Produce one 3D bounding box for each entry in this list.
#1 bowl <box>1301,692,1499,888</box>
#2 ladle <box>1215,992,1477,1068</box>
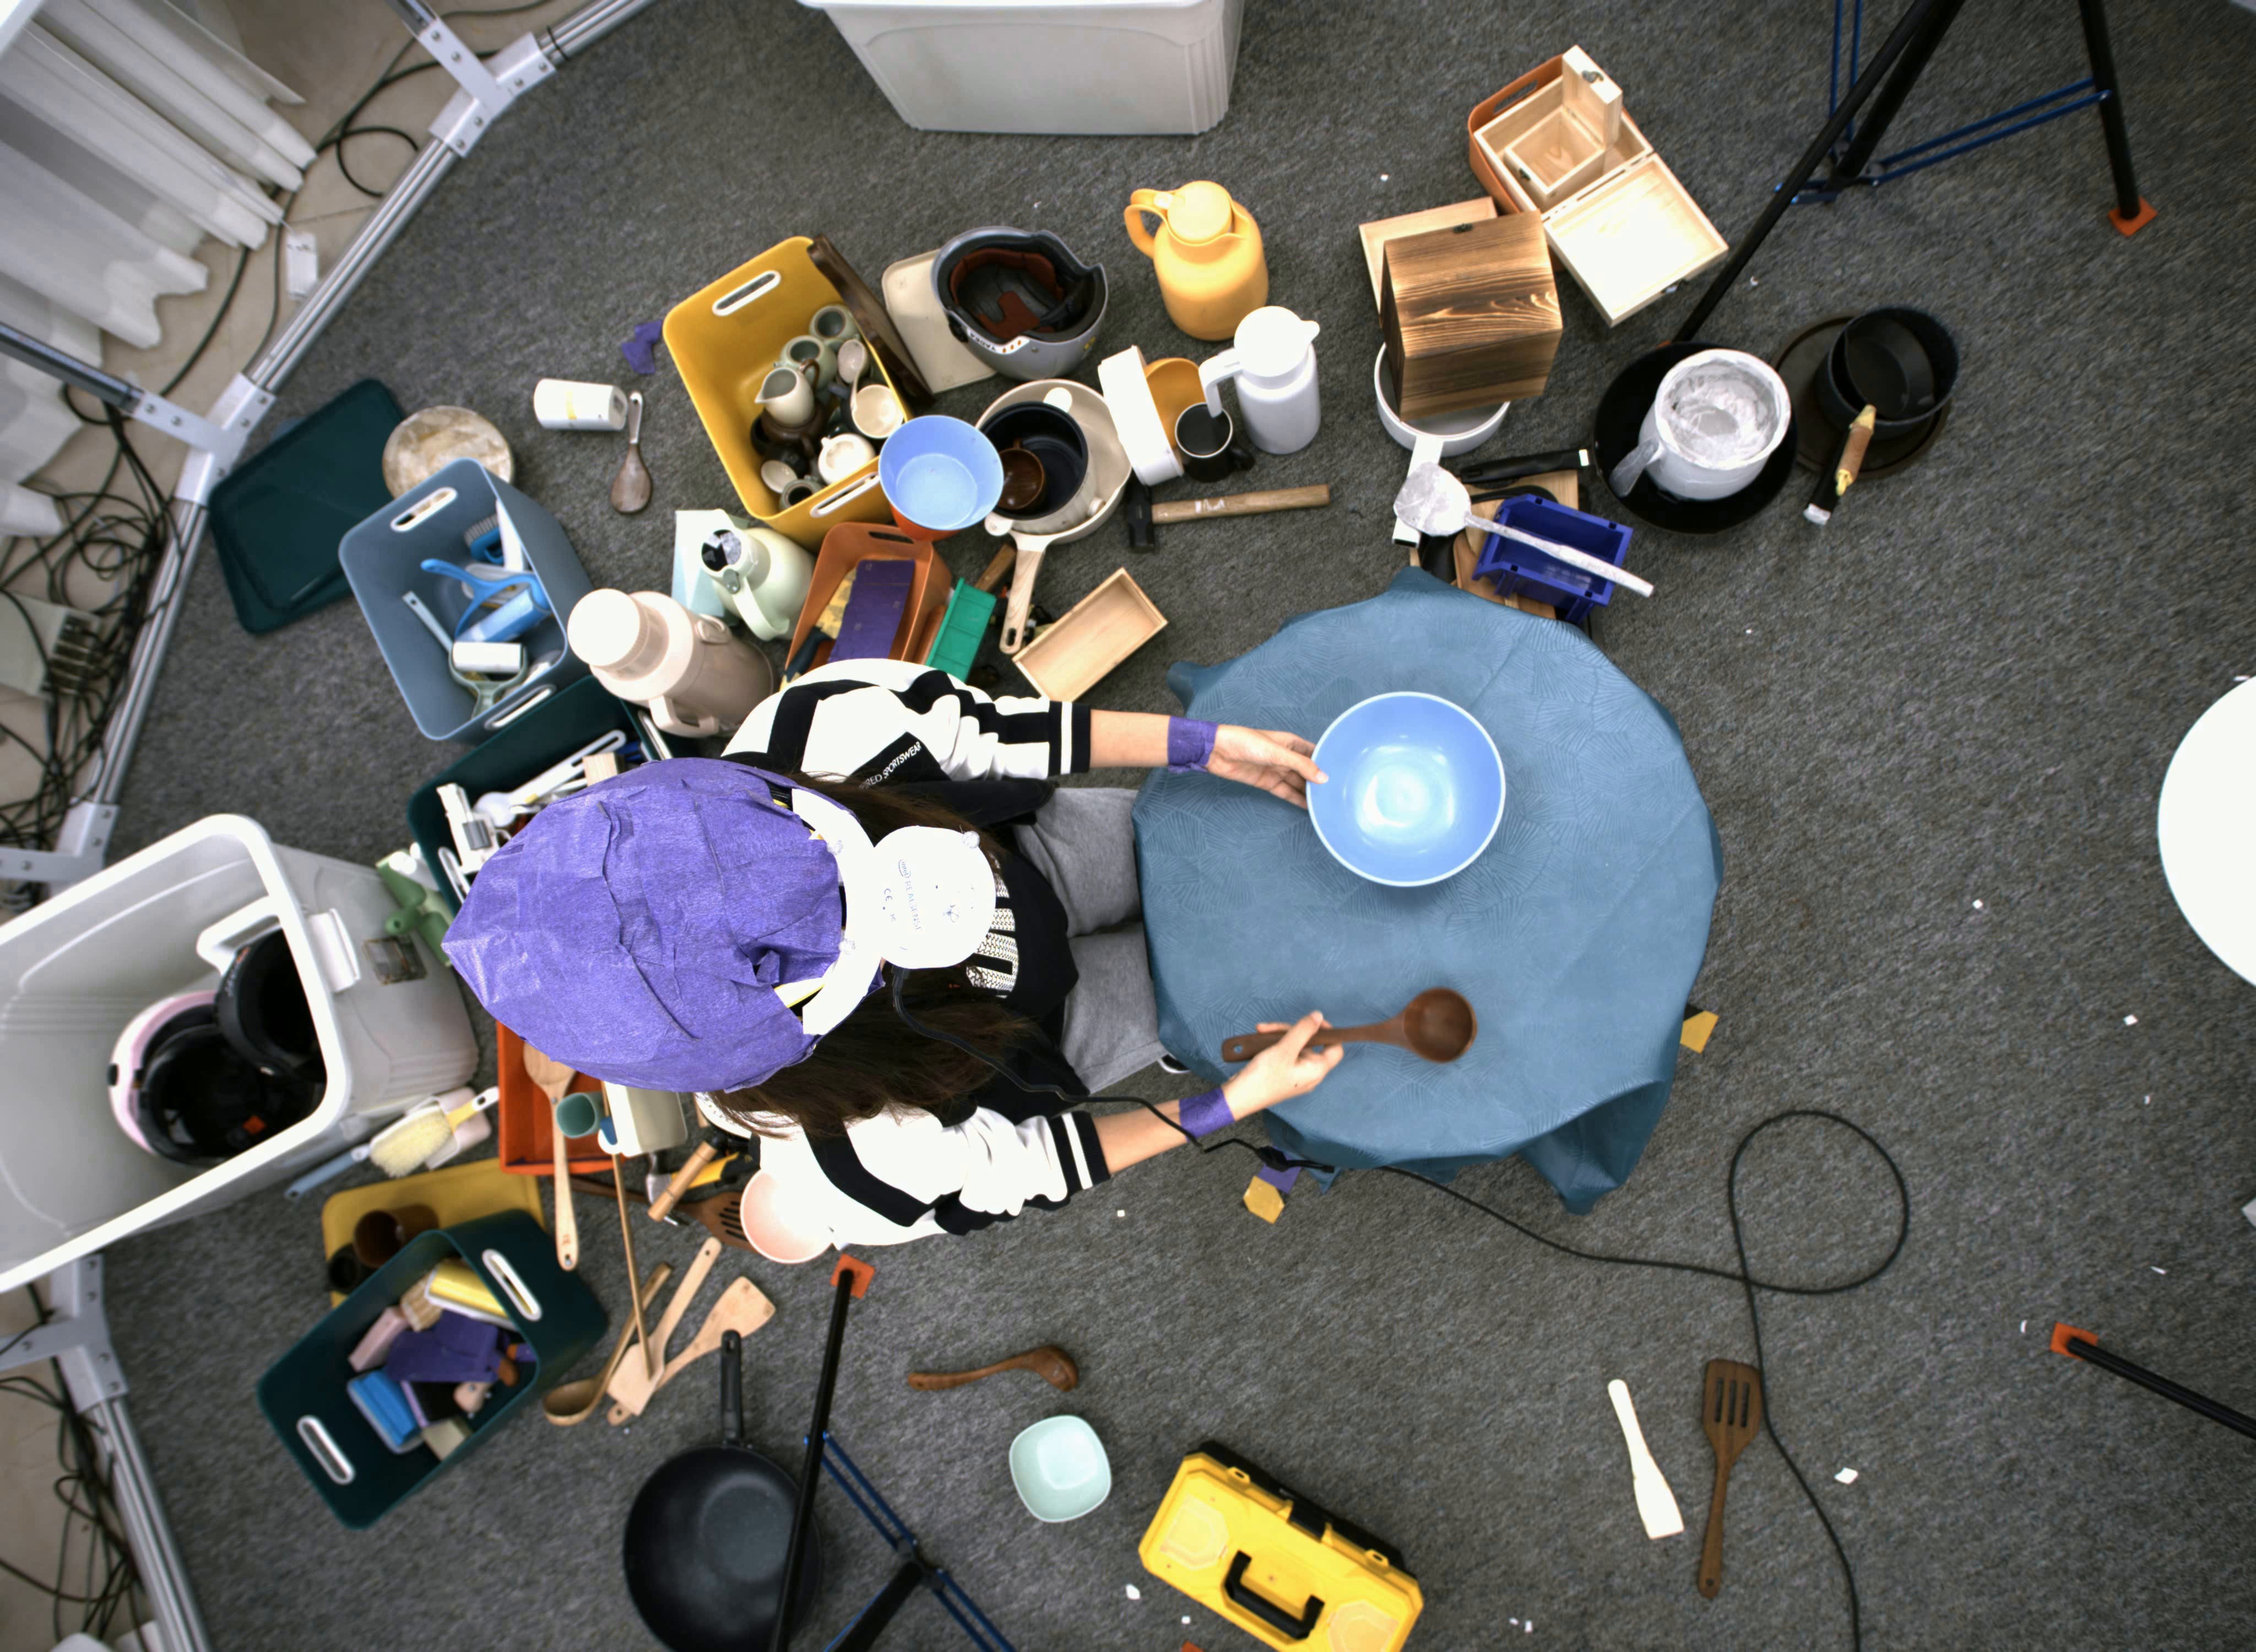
[{"bbox_3d":[0.275,-0.036,1.417,0.197,0.095,0.196,0,91,6],"label":"bowl"},{"bbox_3d":[0.219,0.210,1.381,0.260,0.066,0.075,-3,67,-8],"label":"ladle"}]
